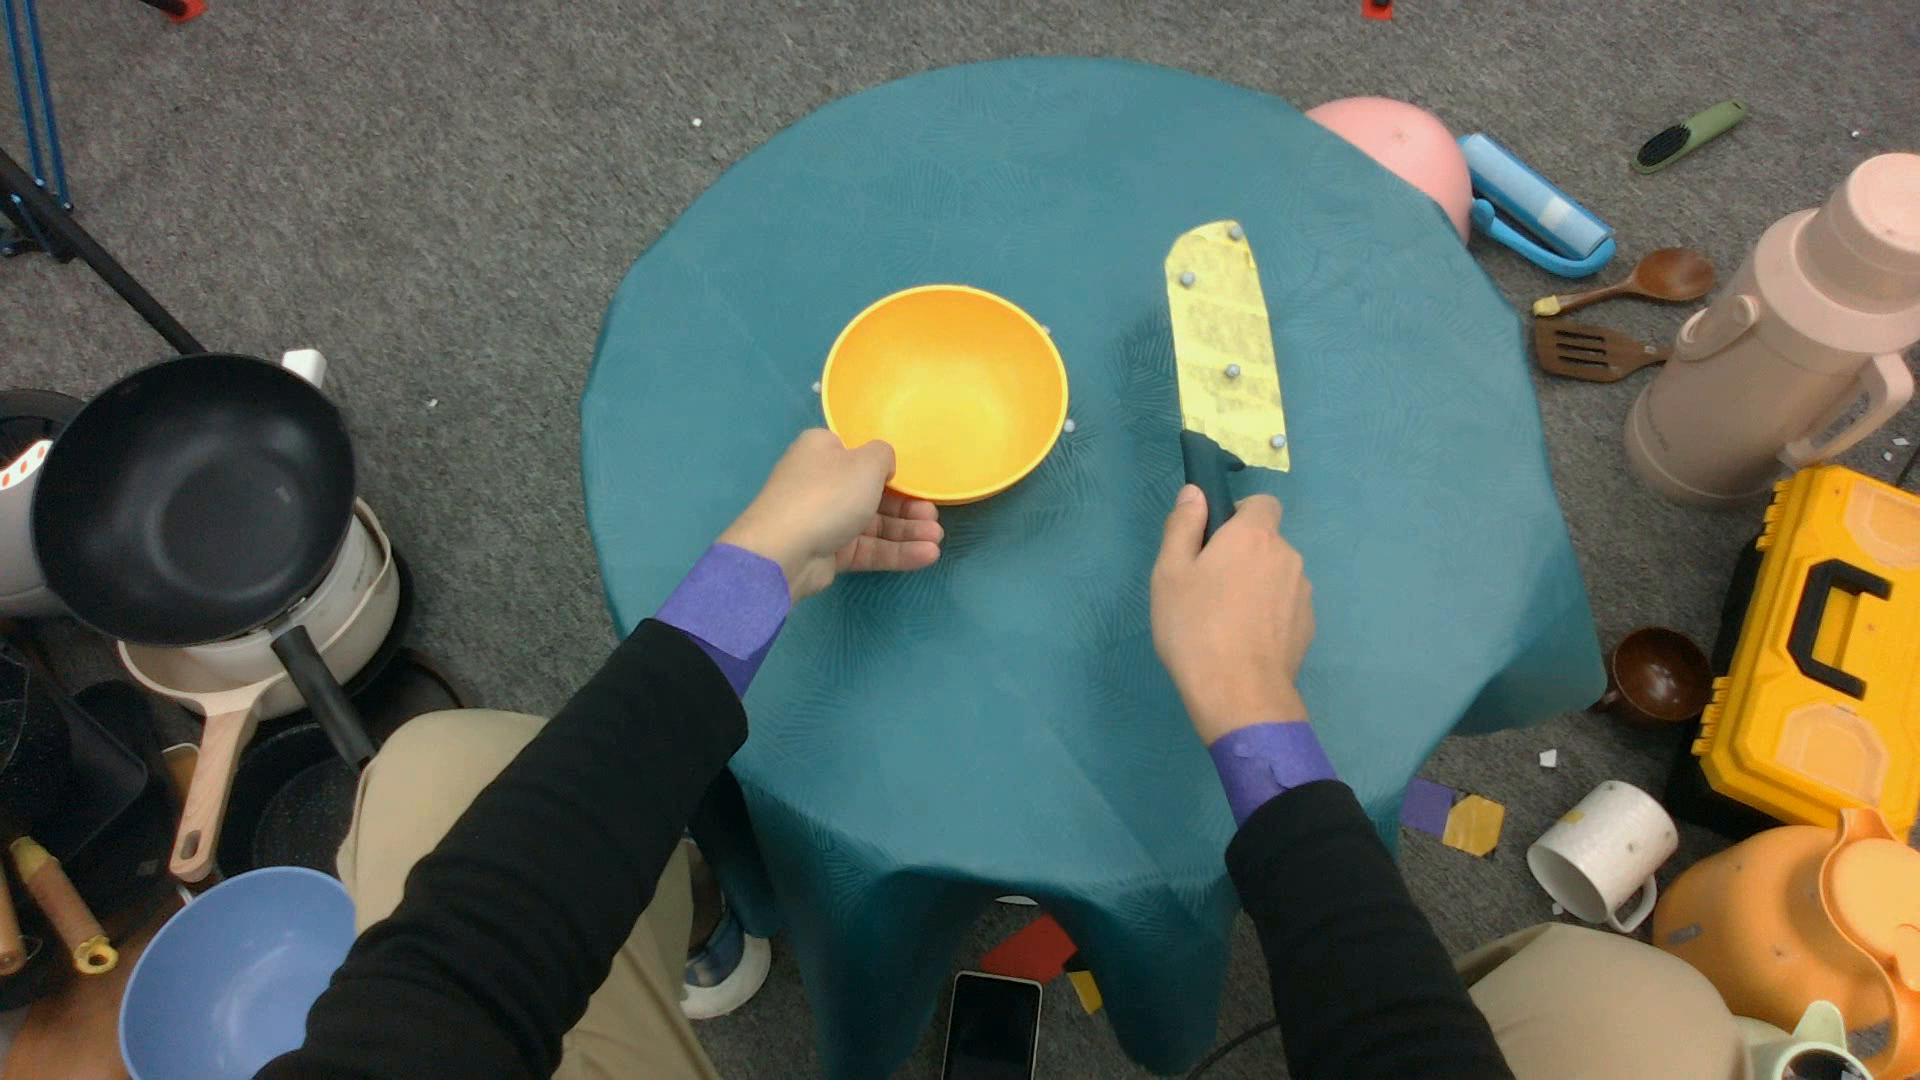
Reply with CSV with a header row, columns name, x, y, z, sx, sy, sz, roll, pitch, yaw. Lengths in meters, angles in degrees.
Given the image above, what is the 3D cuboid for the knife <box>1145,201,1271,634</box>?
name,x,y,z,sx,sy,sz,roll,pitch,yaw
knife,0.145,-0.080,0.801,0.081,0.027,0.290,11,64,-18

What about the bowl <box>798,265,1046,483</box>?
name,x,y,z,sx,sy,sz,roll,pitch,yaw
bowl,-0.022,-0.089,0.827,0.145,0.060,0.146,0,65,0
